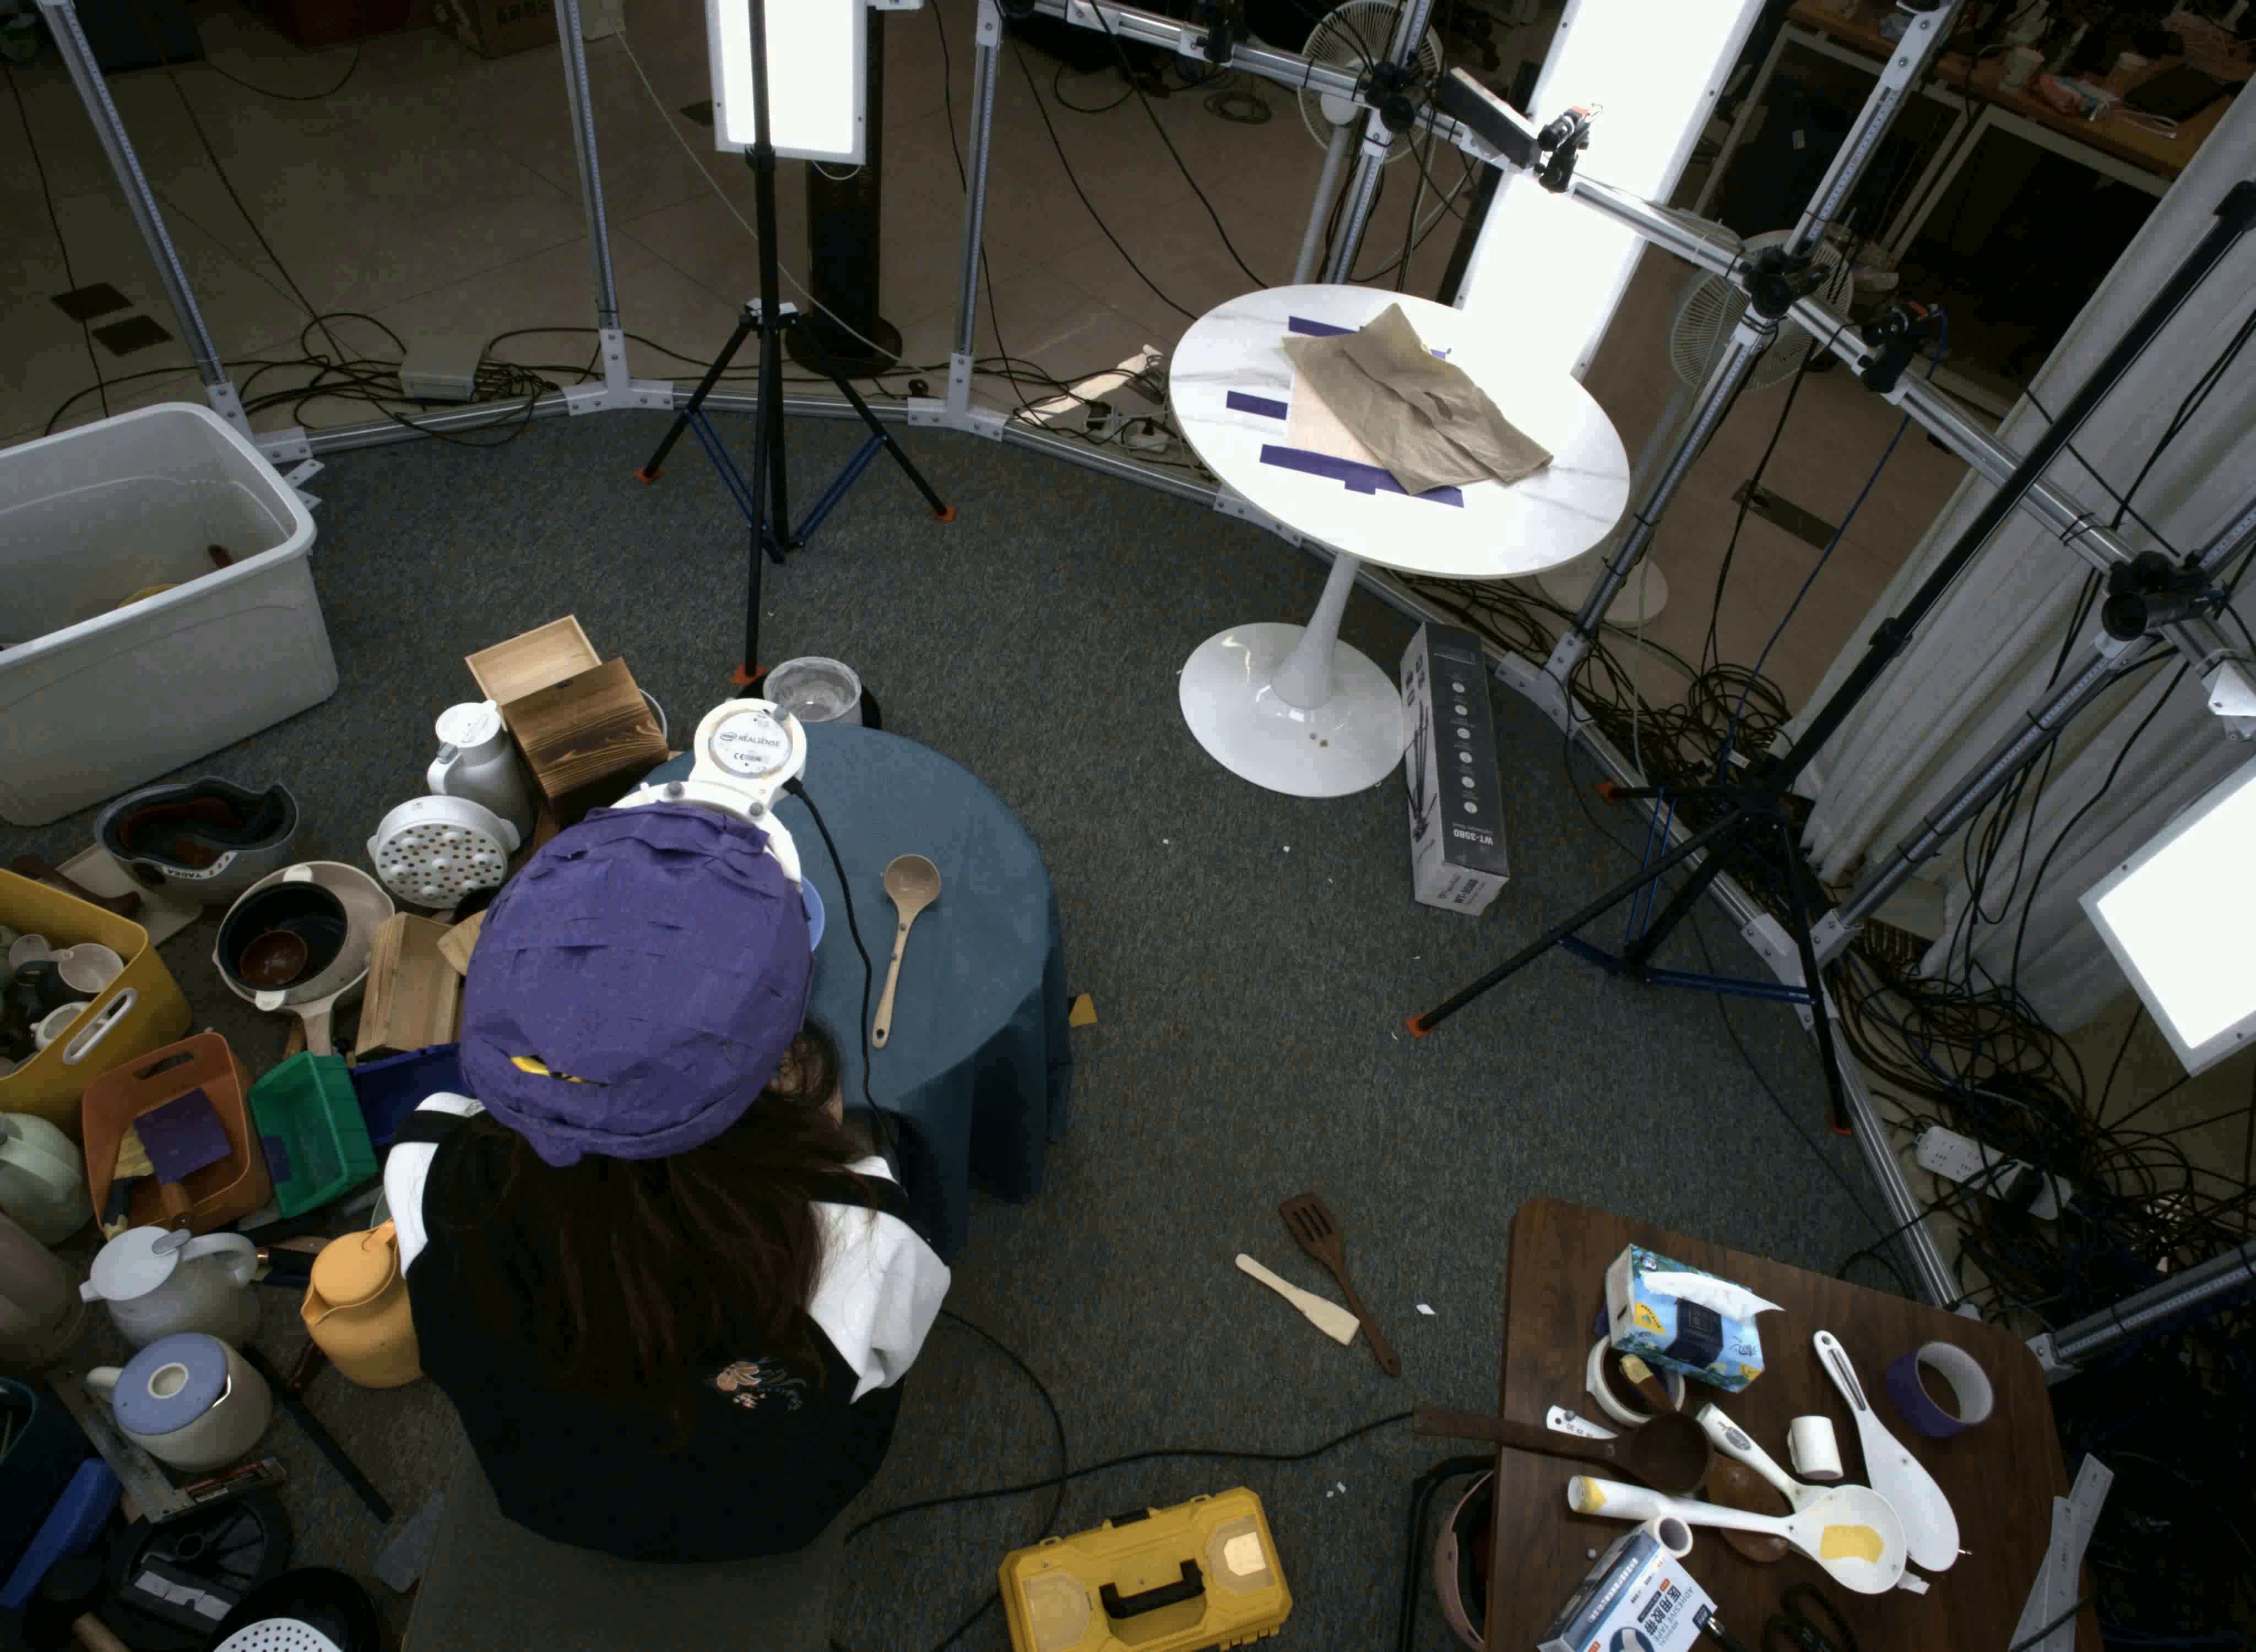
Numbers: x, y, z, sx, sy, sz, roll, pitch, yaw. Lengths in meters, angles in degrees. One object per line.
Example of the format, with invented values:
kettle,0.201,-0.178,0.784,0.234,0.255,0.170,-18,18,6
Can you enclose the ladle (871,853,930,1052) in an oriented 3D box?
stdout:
ladle,-0.291,0.145,1.598,0.072,0.074,0.250,7,52,-7

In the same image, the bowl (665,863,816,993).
bowl,-0.465,0.132,1.564,0.175,0.072,0.173,7,52,-8
